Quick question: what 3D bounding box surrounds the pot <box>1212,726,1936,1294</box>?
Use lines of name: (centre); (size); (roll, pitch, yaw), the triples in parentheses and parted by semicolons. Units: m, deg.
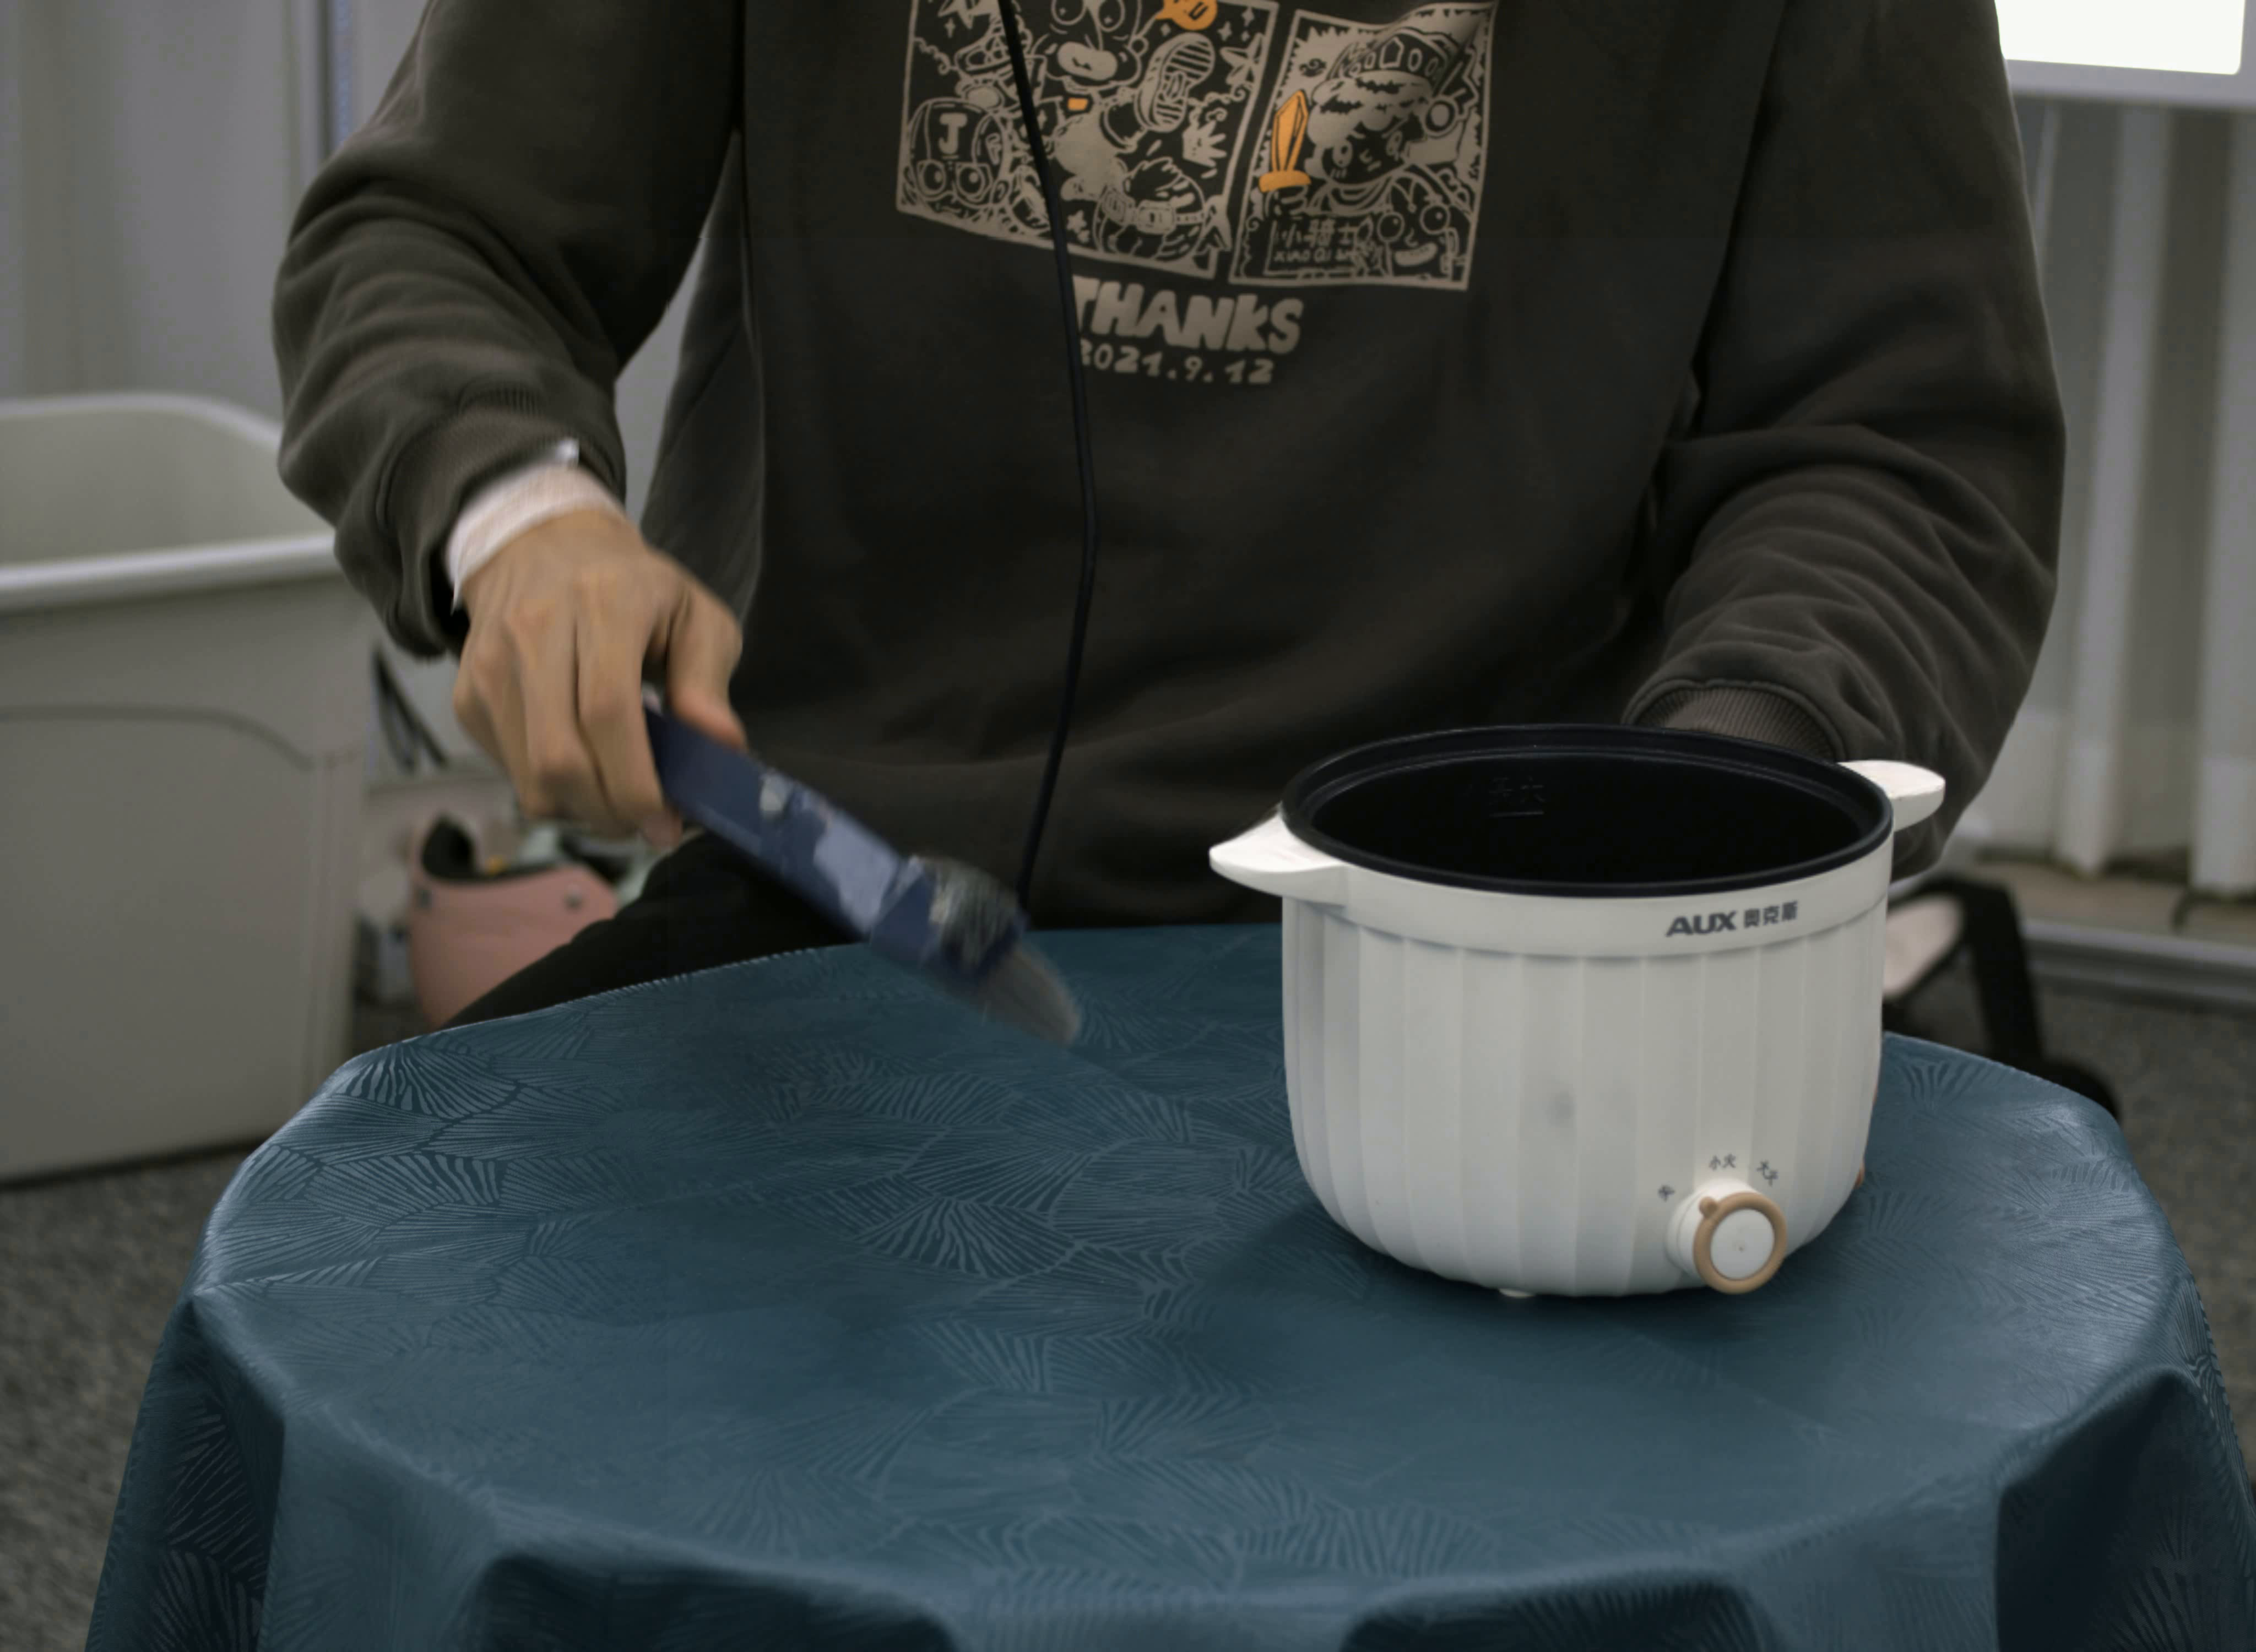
pot: (0.139, 0.057, 1.573); (0.241, 0.144, 0.188); (-8, 14, -23)

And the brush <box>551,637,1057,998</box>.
brush: (-0.107, -0.014, 1.576); (0.269, 0.033, 0.097); (31, -12, 44)
